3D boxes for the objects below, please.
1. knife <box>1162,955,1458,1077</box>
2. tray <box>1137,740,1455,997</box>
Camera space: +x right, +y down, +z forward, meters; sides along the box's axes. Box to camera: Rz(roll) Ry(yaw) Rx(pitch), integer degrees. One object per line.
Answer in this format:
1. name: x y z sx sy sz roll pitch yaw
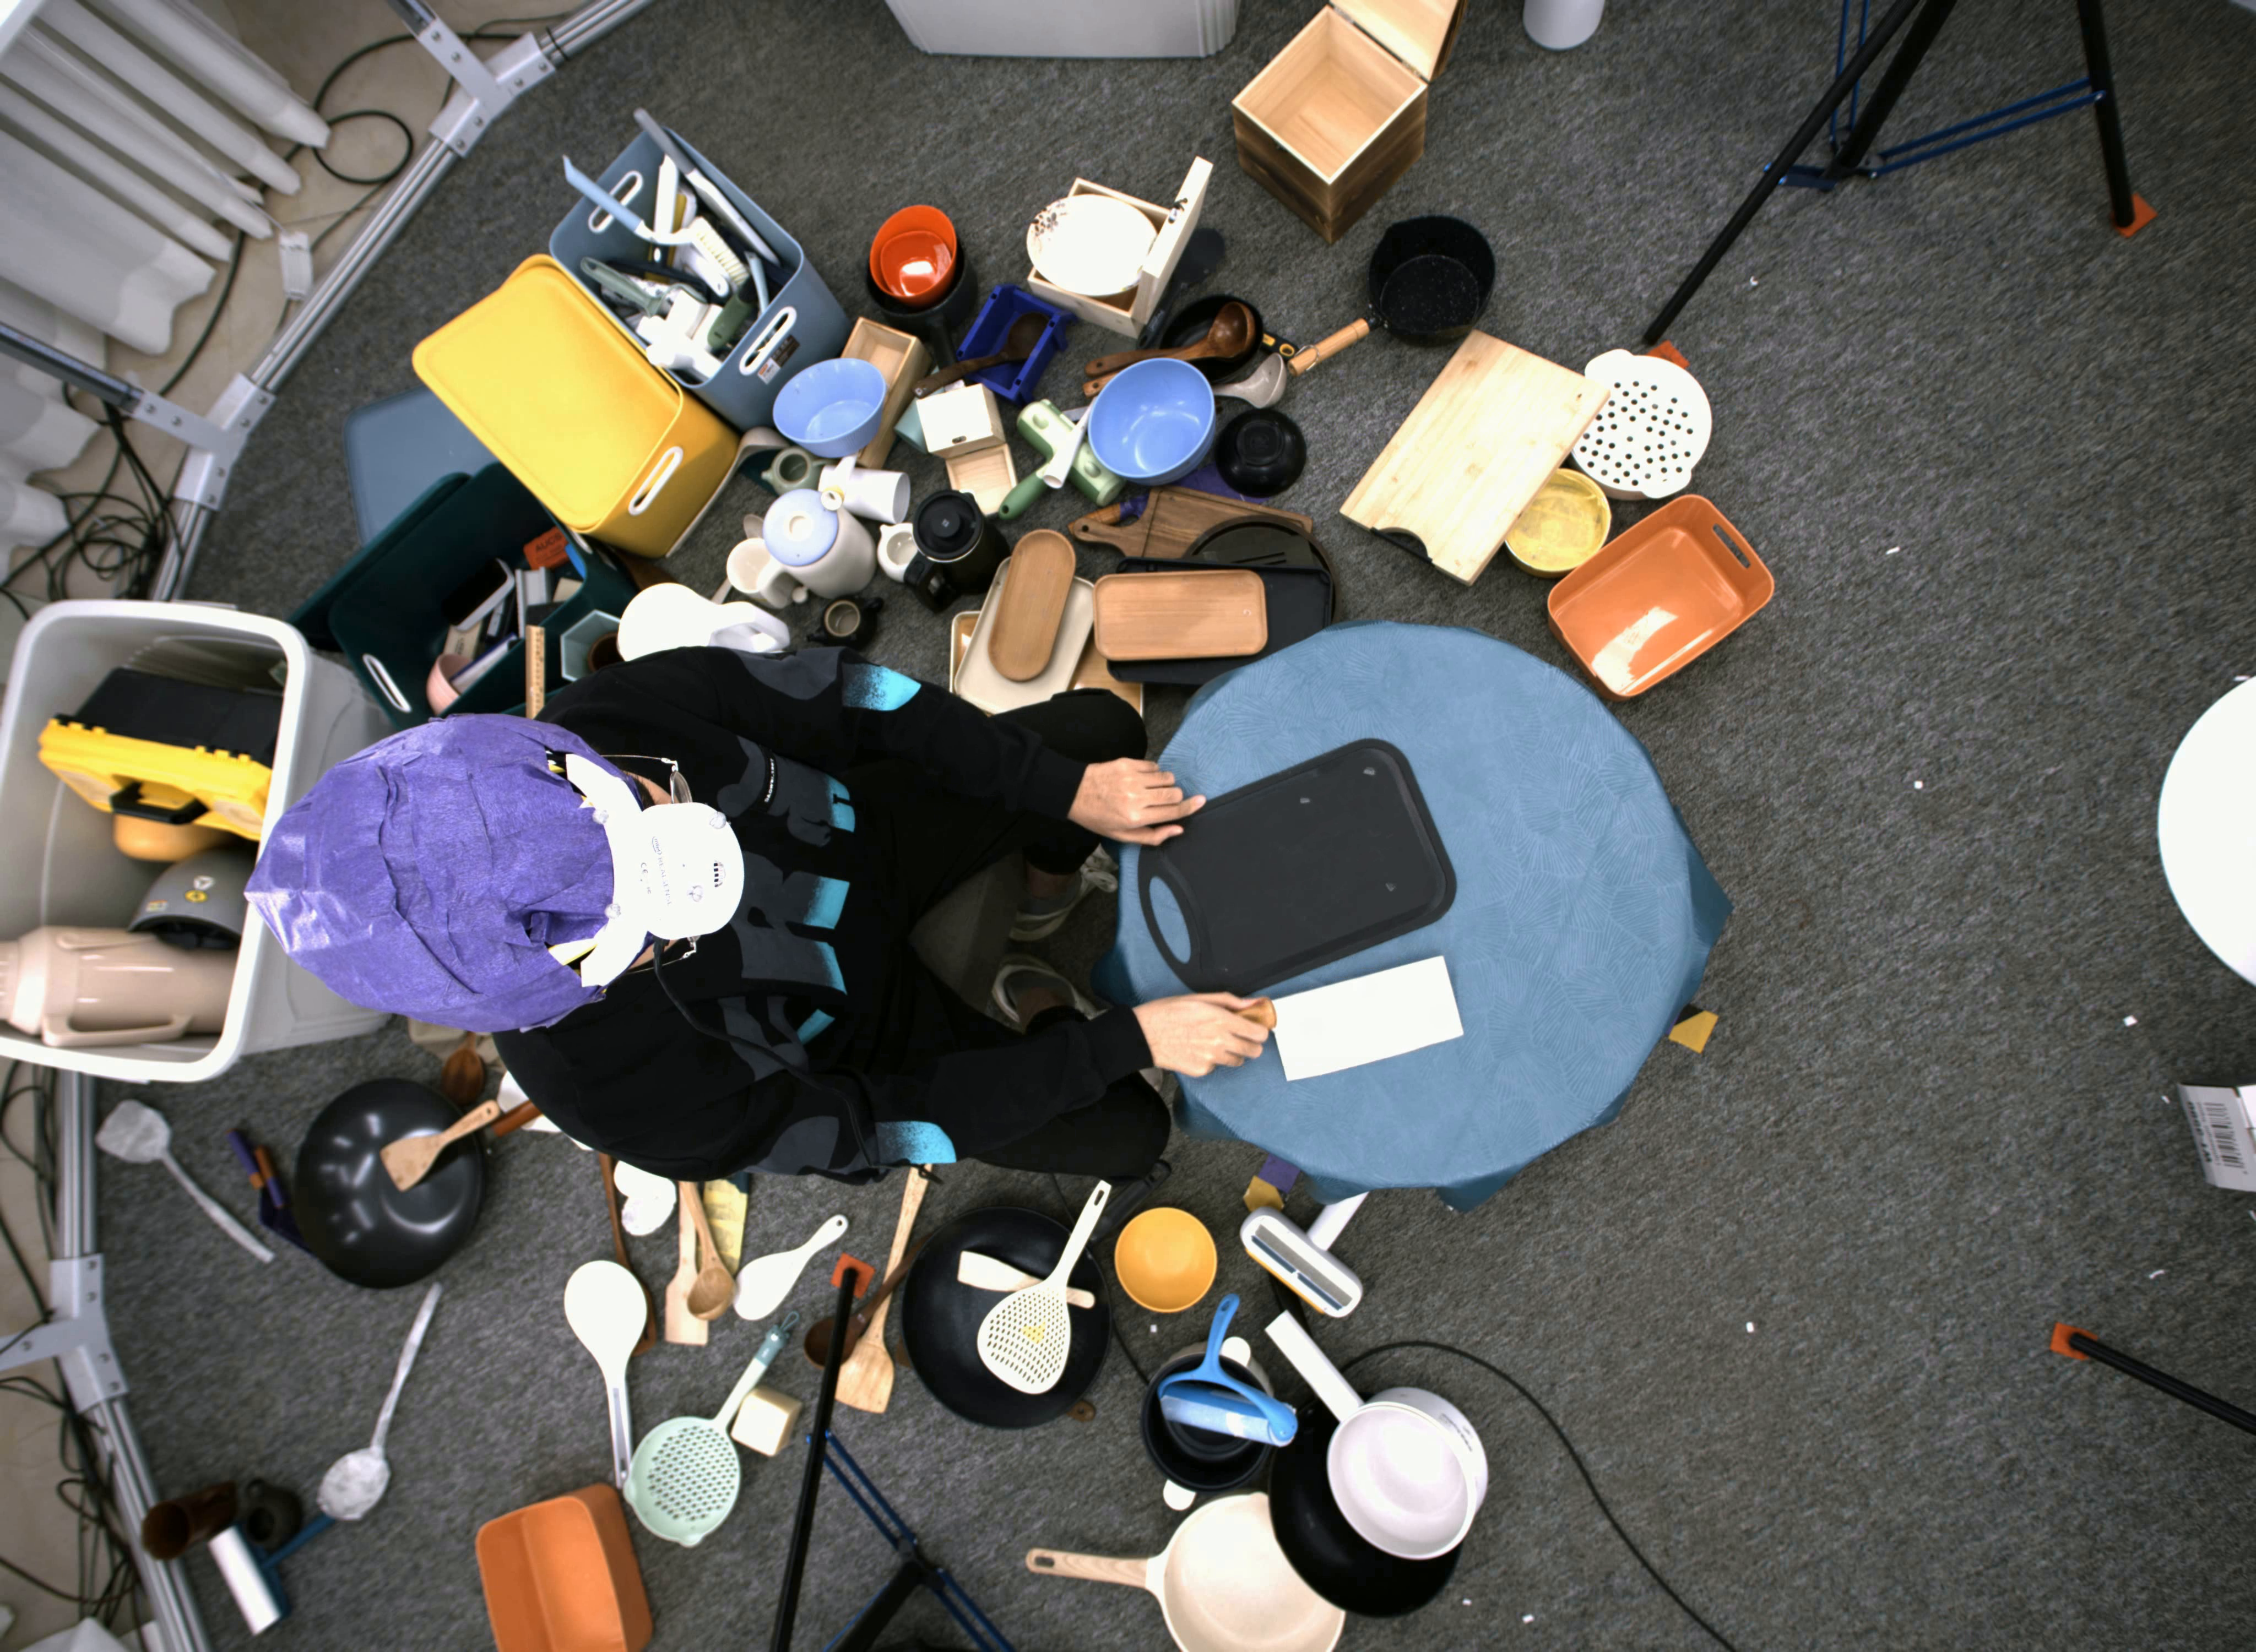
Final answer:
1. knife: 0.191 0.212 1.453 0.307 0.021 0.093 -15 99 8
2. tray: 0.171 0.049 1.476 0.327 0.010 0.210 -21 83 8
